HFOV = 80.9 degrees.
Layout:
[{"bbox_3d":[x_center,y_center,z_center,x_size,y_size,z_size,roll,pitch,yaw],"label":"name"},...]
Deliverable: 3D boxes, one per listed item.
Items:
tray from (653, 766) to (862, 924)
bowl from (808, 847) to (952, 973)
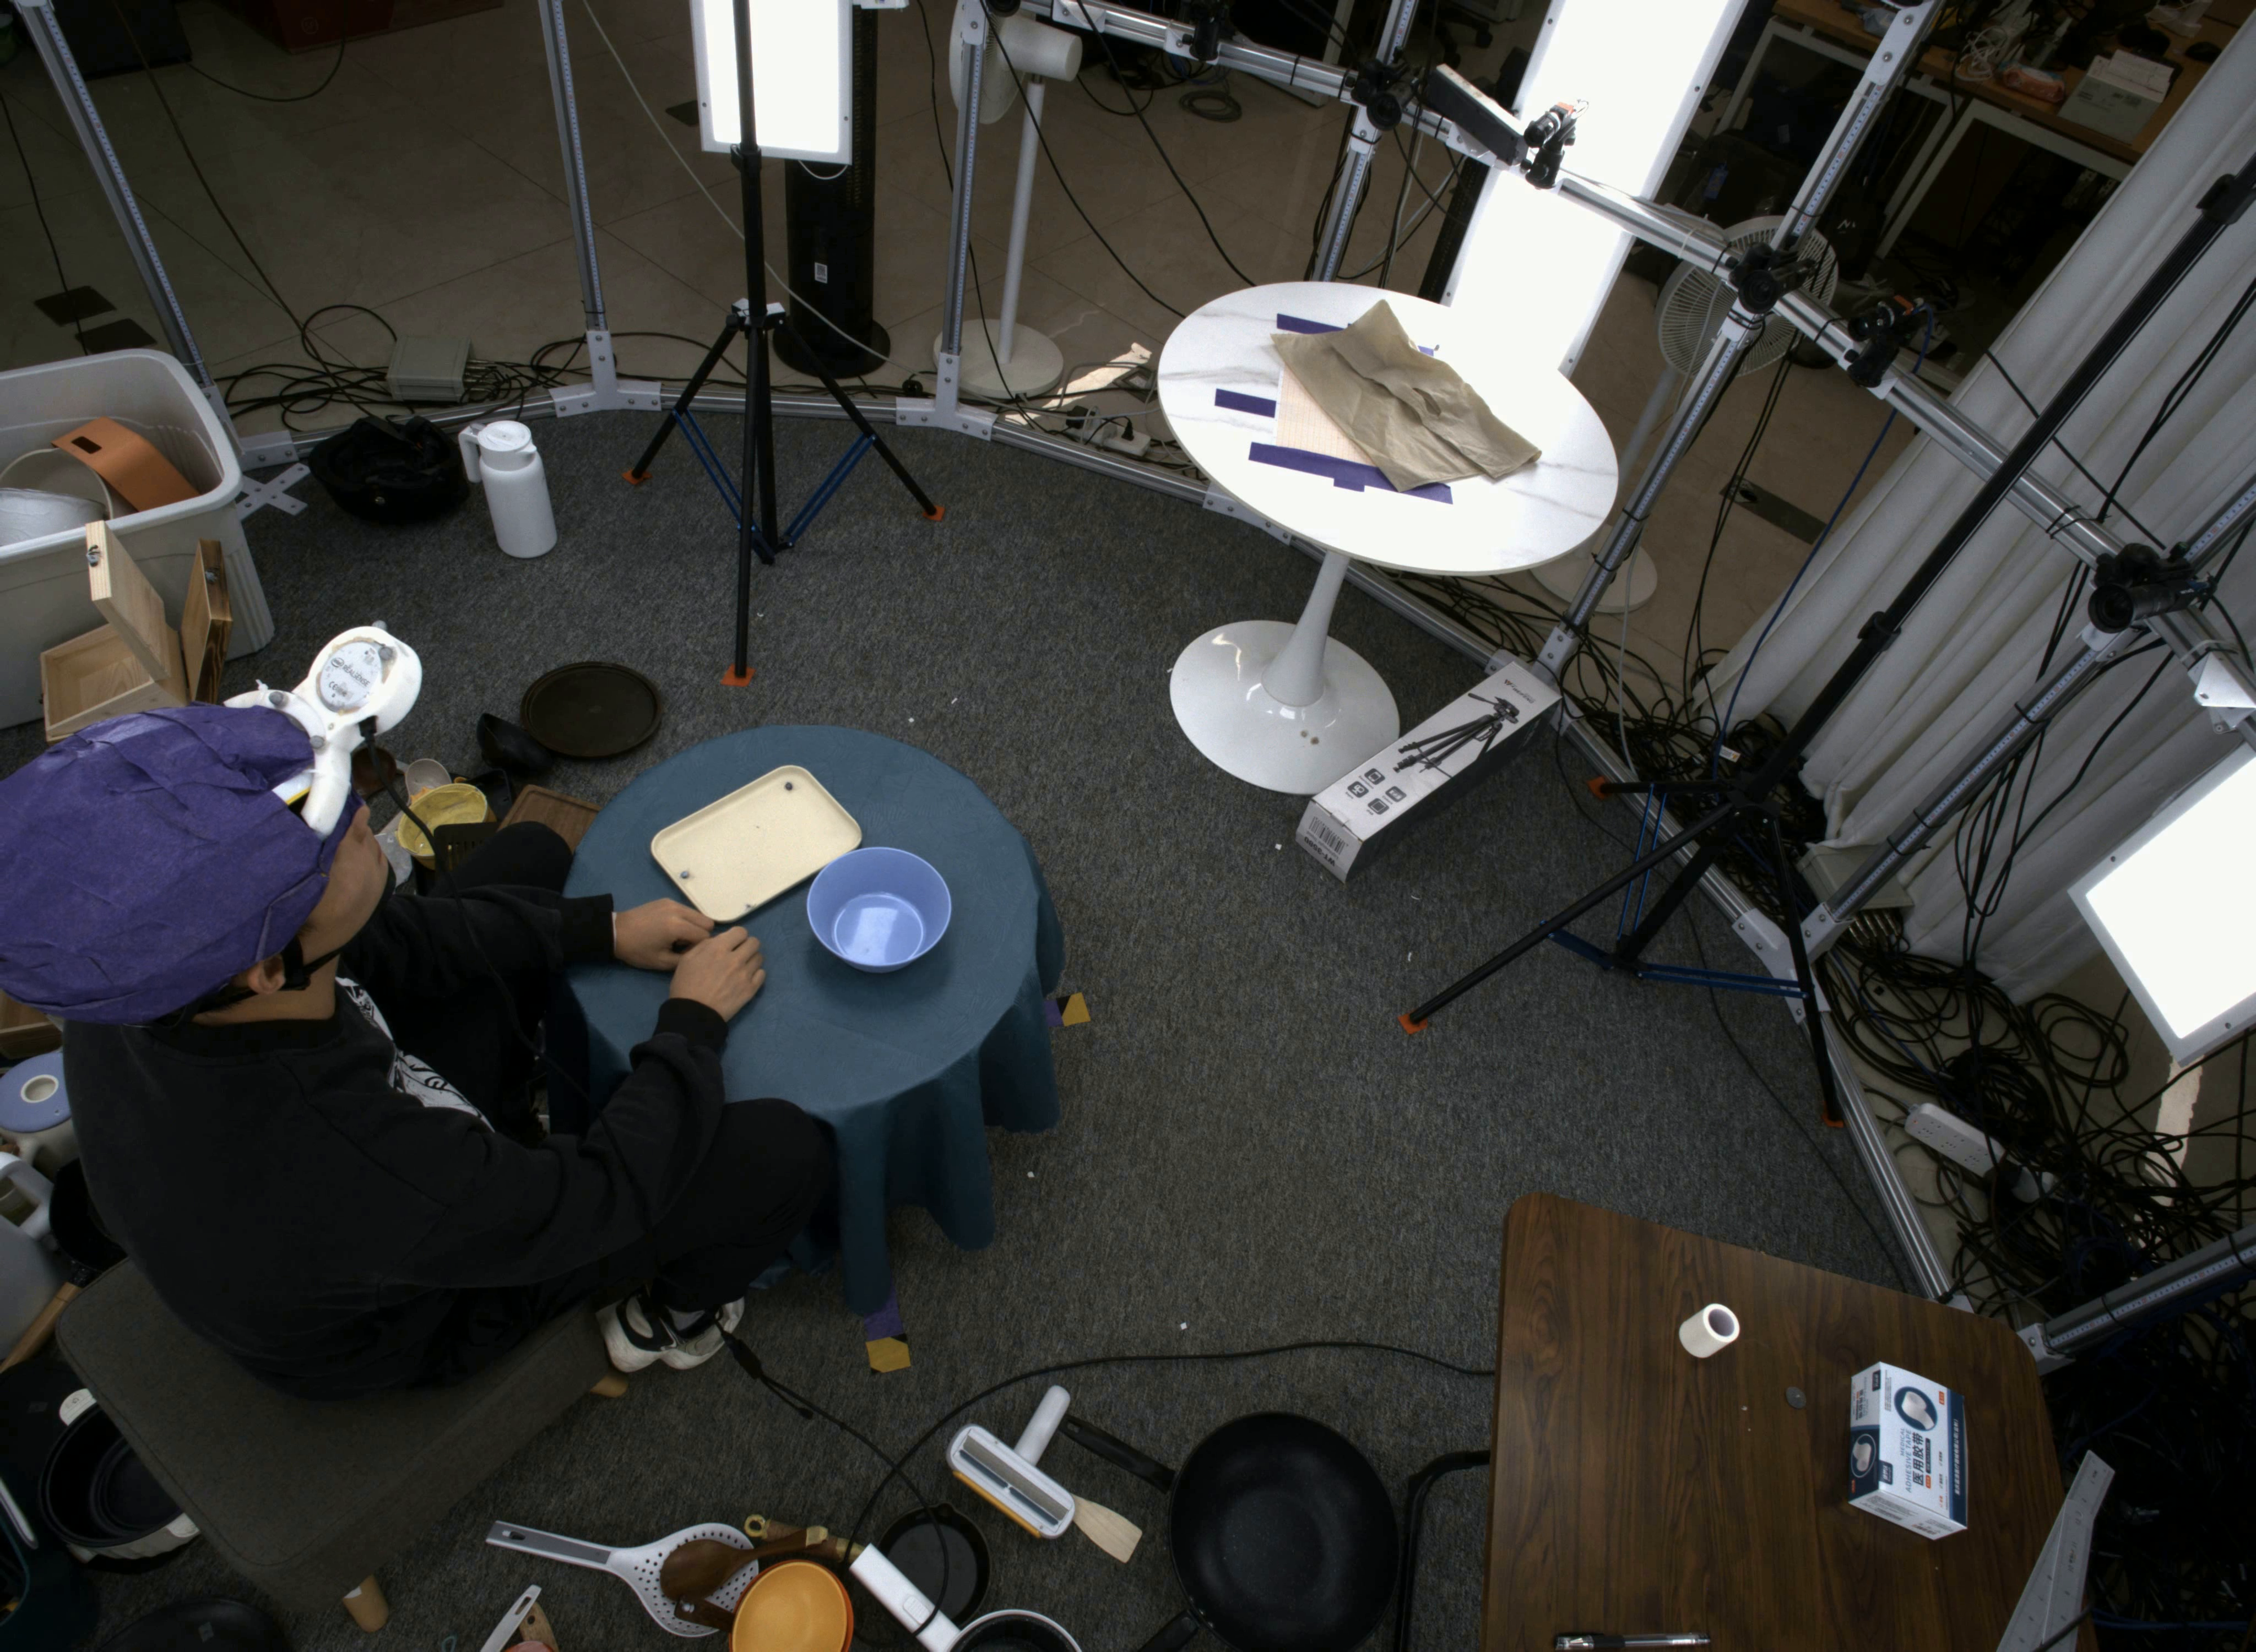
[{"bbox_3d":[-0.481,0.021,1.687,0.240,0.018,0.167,-34,68,-32],"label":"tray"},{"bbox_3d":[-0.310,0.115,1.627,0.175,0.072,0.173,7,52,-8],"label":"bowl"}]
